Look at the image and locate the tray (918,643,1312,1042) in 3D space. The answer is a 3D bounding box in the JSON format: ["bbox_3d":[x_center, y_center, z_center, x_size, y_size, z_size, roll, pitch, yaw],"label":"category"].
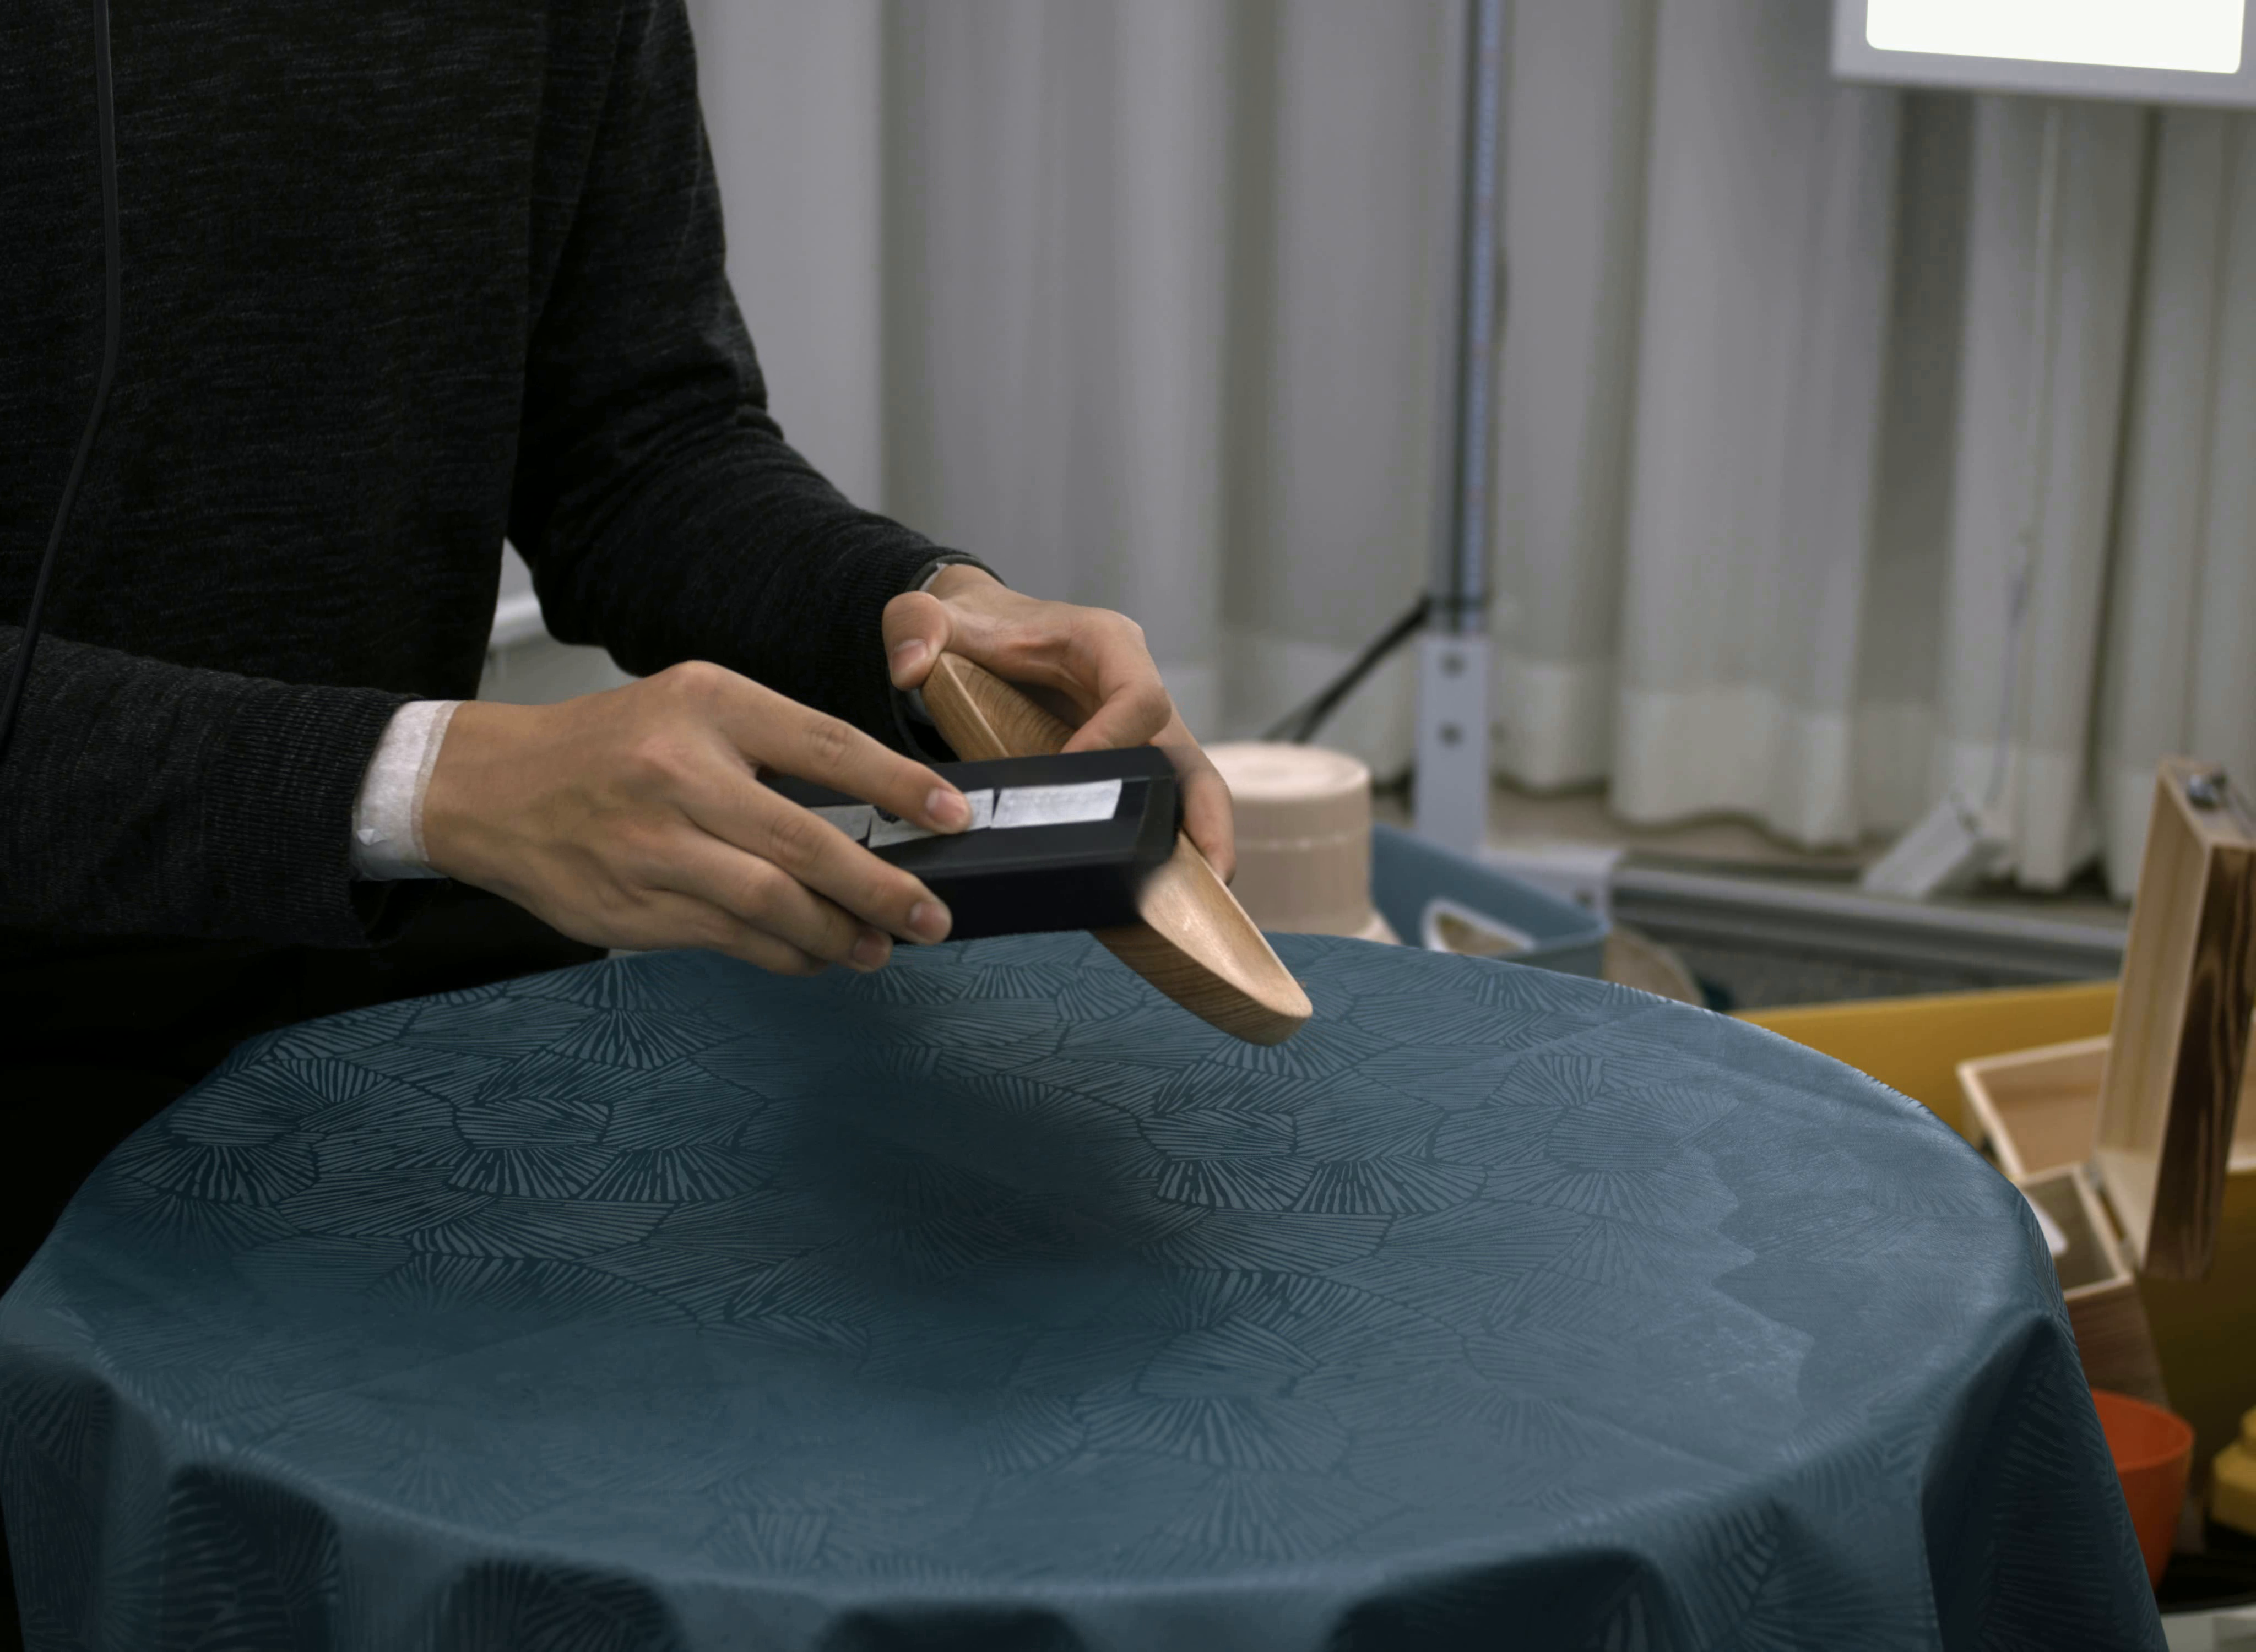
[{"bbox_3d":[-0.007,0.004,1.616,0.103,0.020,0.228,35,8,-27],"label":"tray"}]

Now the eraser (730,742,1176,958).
[{"bbox_3d":[-0.049,0.006,1.510,0.125,0.031,0.053,-6,39,11],"label":"eraser"}]
